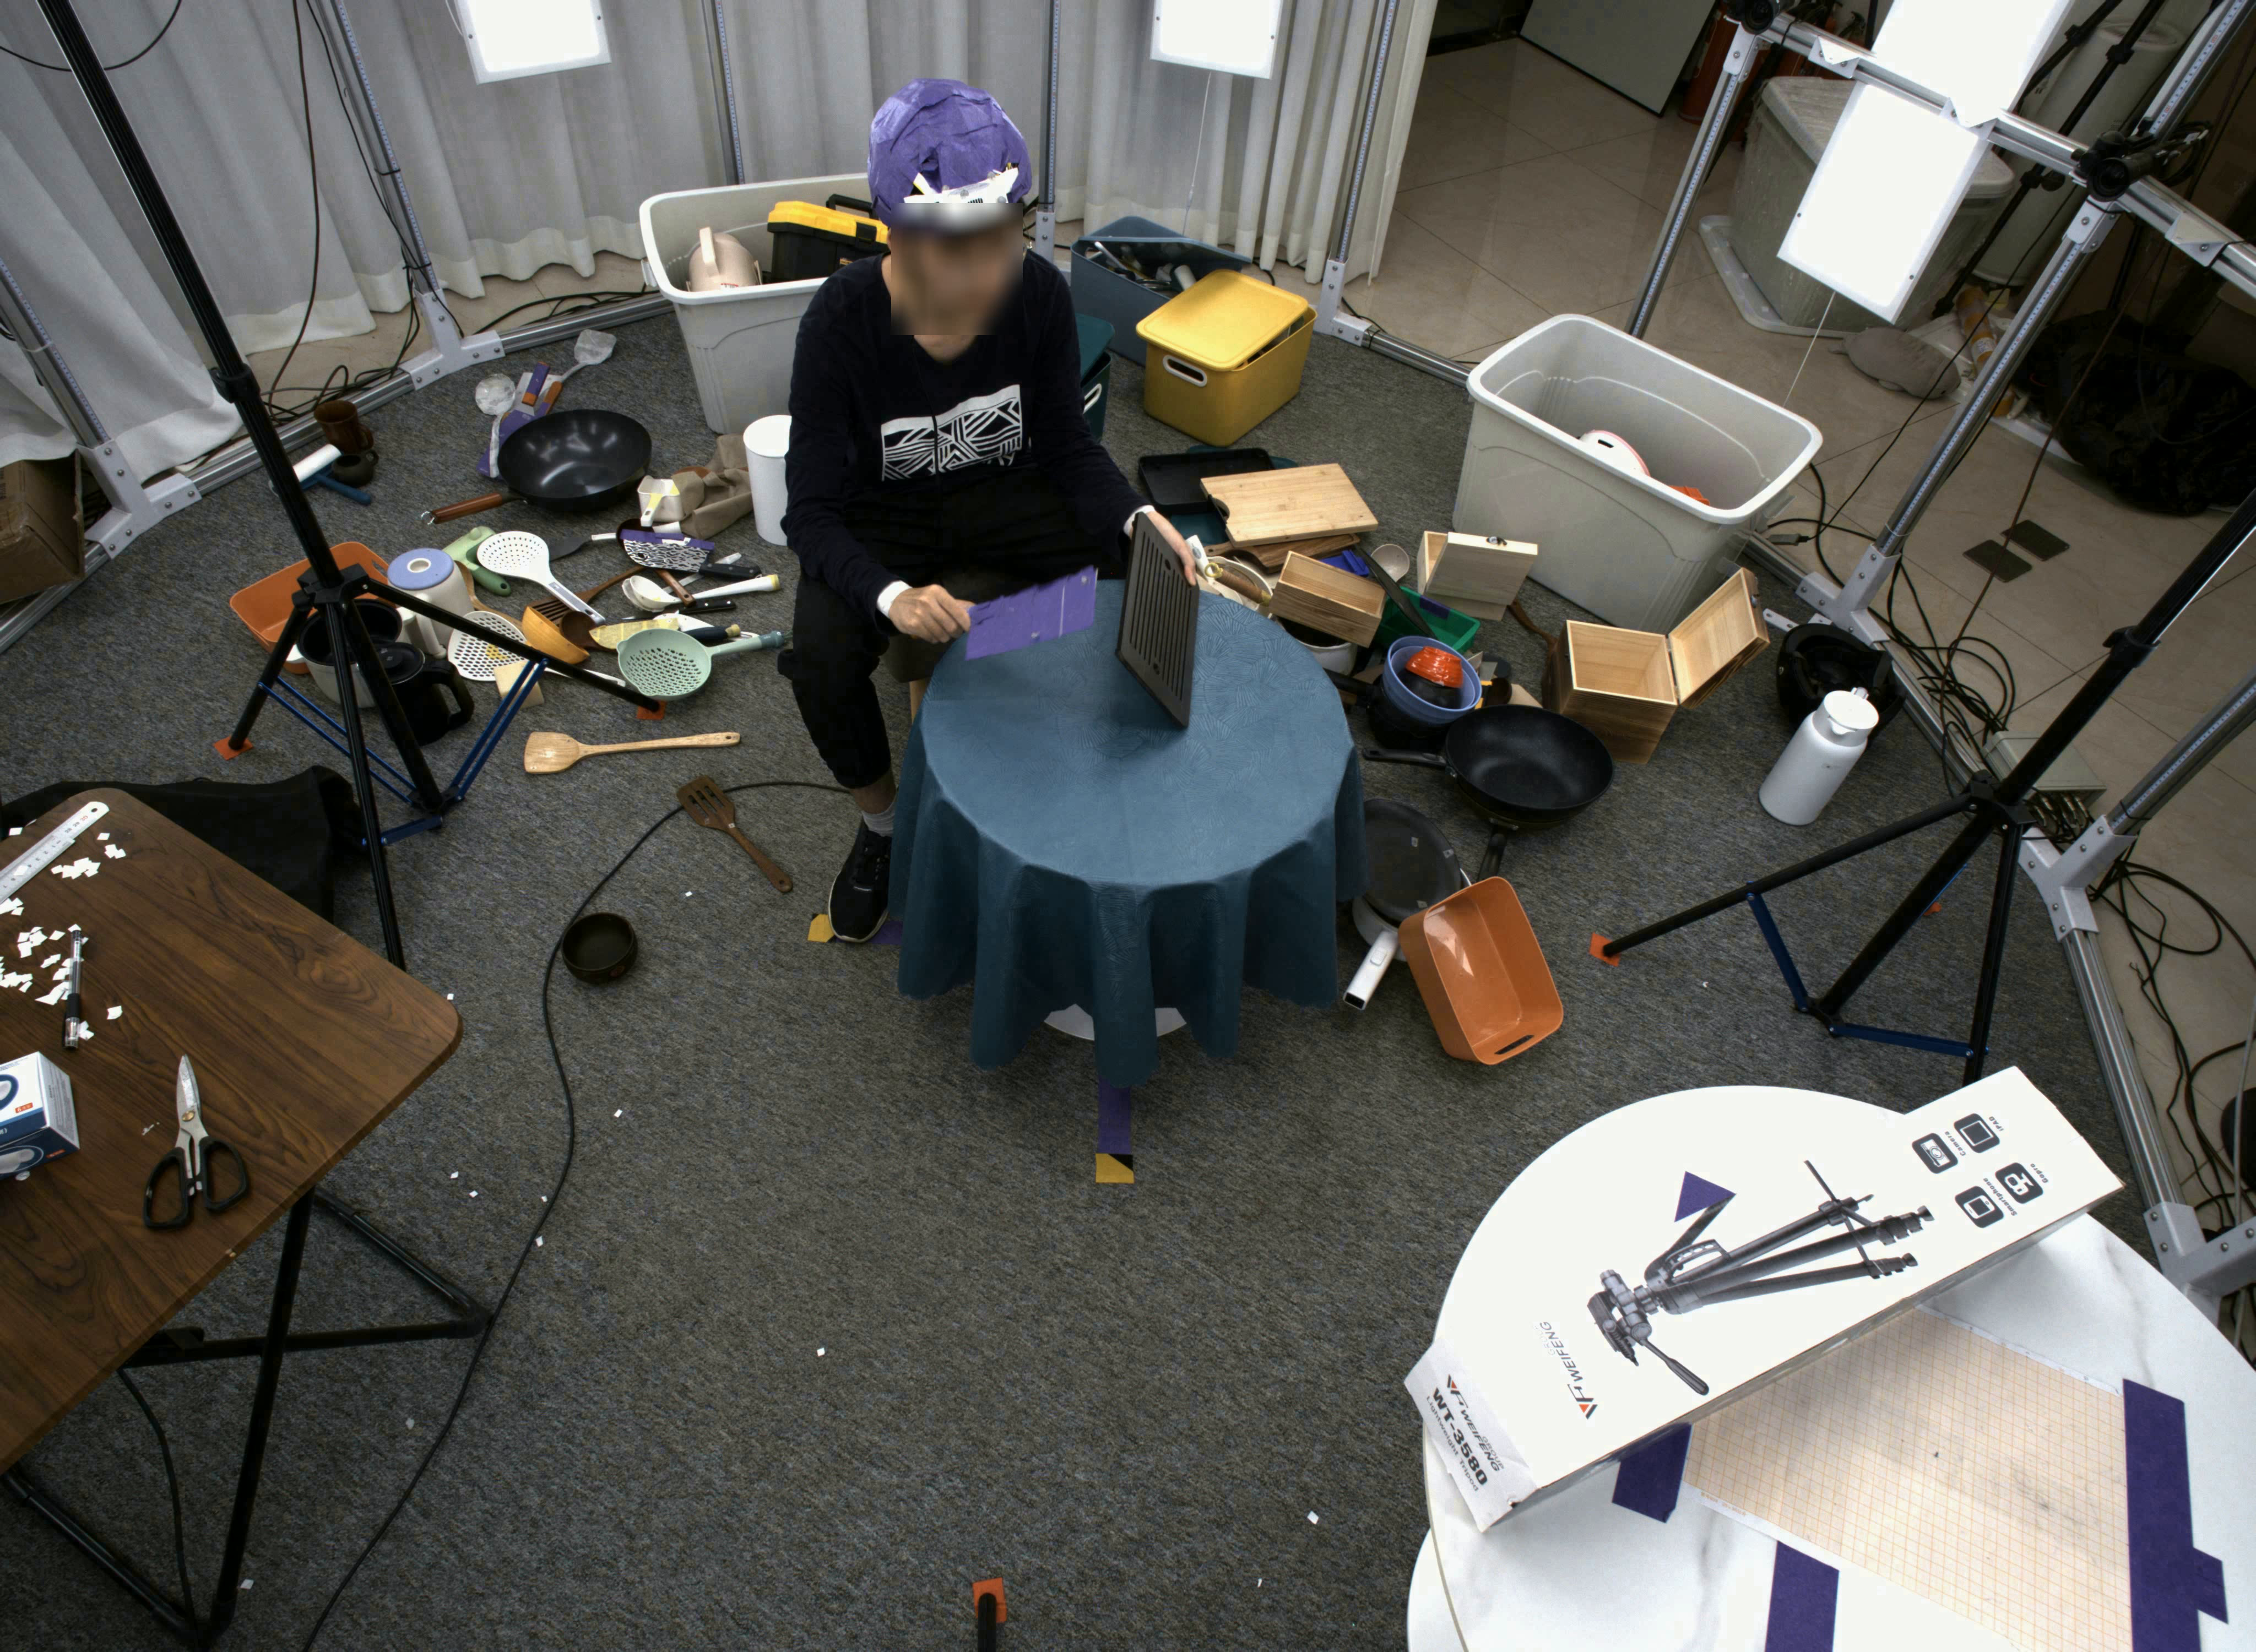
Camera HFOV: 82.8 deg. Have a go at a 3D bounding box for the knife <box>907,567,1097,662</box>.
[{"bbox_3d":[-0.178,-0.270,1.732,0.315,0.031,0.106,-11,57,32],"label":"knife"}]

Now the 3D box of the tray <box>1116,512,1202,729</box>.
[{"bbox_3d":[0.046,-0.296,1.836,0.018,0.167,0.313,-21,44,29],"label":"tray"}]
